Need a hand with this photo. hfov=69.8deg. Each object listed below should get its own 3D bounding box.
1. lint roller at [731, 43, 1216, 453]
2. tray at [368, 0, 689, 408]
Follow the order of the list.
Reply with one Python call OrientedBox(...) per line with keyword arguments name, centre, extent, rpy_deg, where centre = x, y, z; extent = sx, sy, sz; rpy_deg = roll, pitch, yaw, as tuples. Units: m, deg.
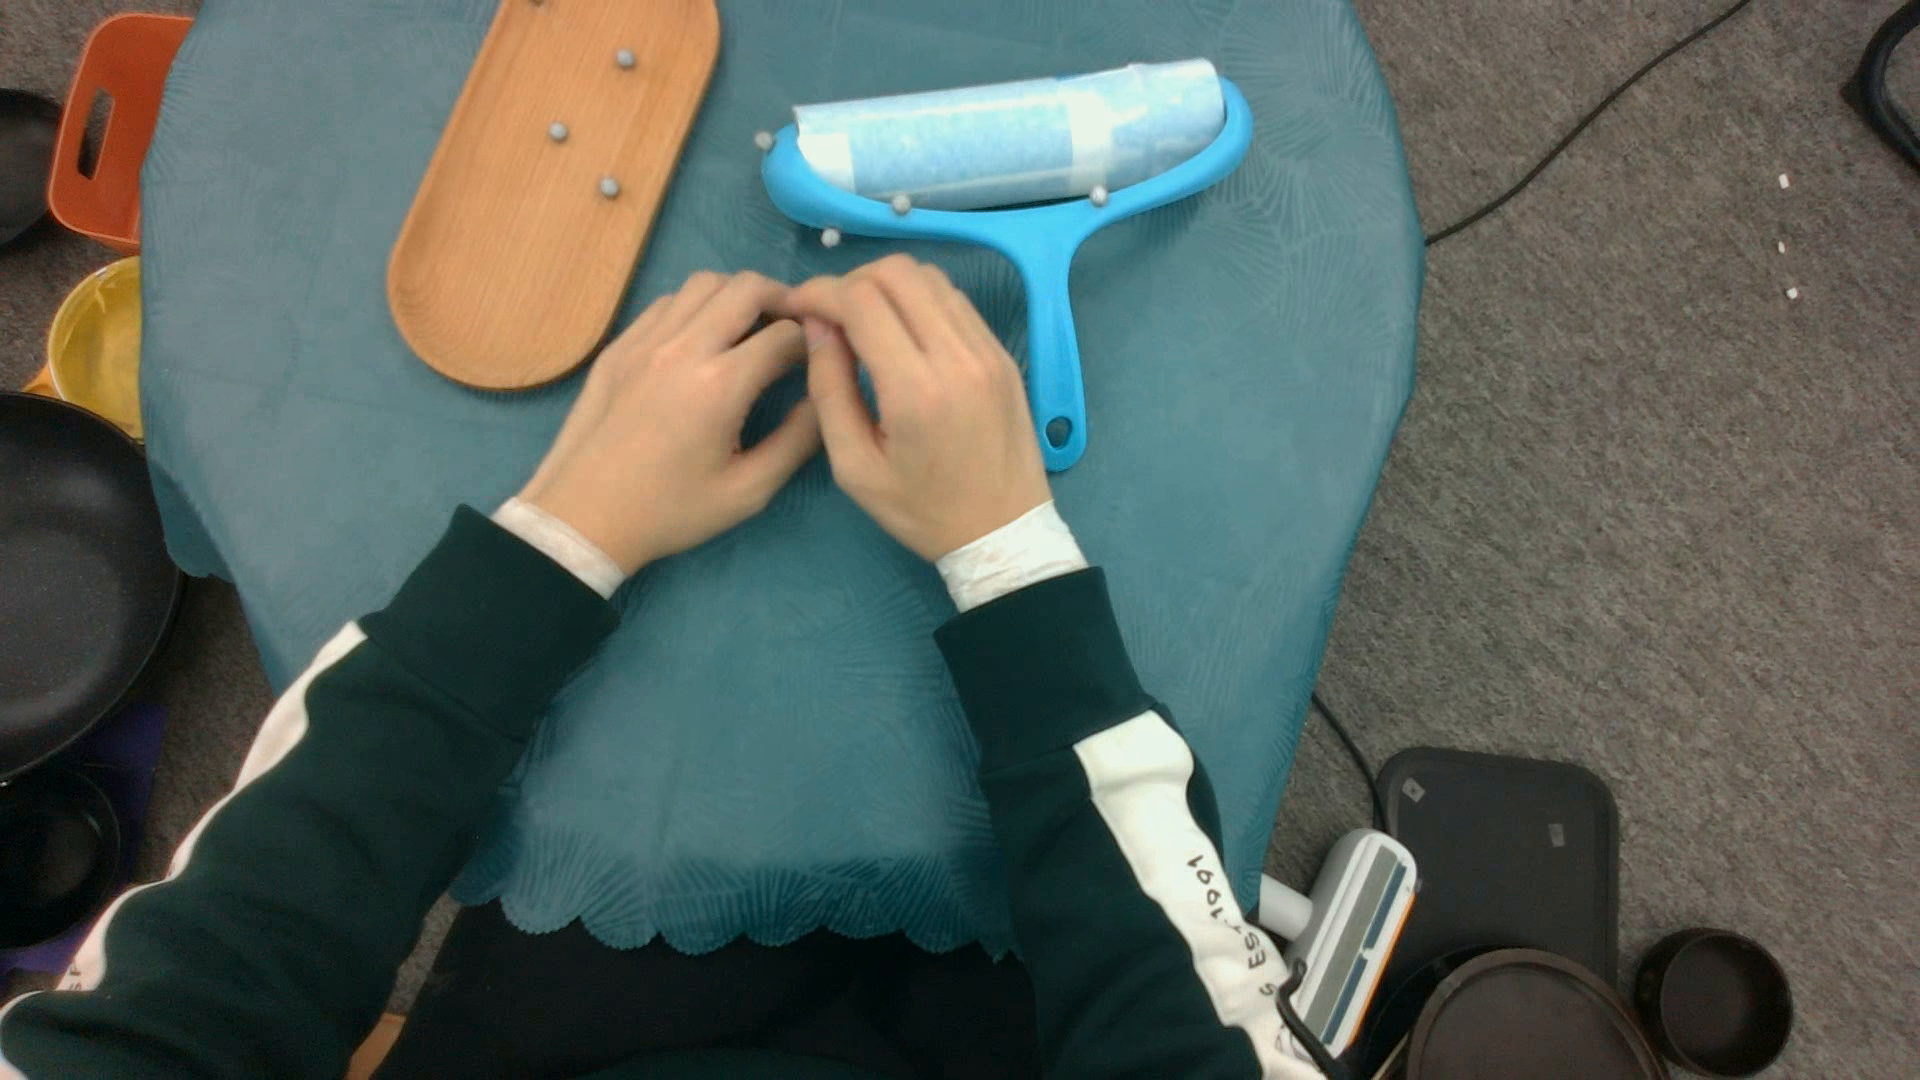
OrientedBox(name="lint roller", centre=(0.023, -0.133, 0.632), extent=(0.229, 0.068, 0.180), rpy_deg=(-13, 80, -10))
OrientedBox(name="tray", centre=(-0.196, -0.170, 0.636), extent=(0.102, 0.020, 0.231), rpy_deg=(16, 79, -2))
